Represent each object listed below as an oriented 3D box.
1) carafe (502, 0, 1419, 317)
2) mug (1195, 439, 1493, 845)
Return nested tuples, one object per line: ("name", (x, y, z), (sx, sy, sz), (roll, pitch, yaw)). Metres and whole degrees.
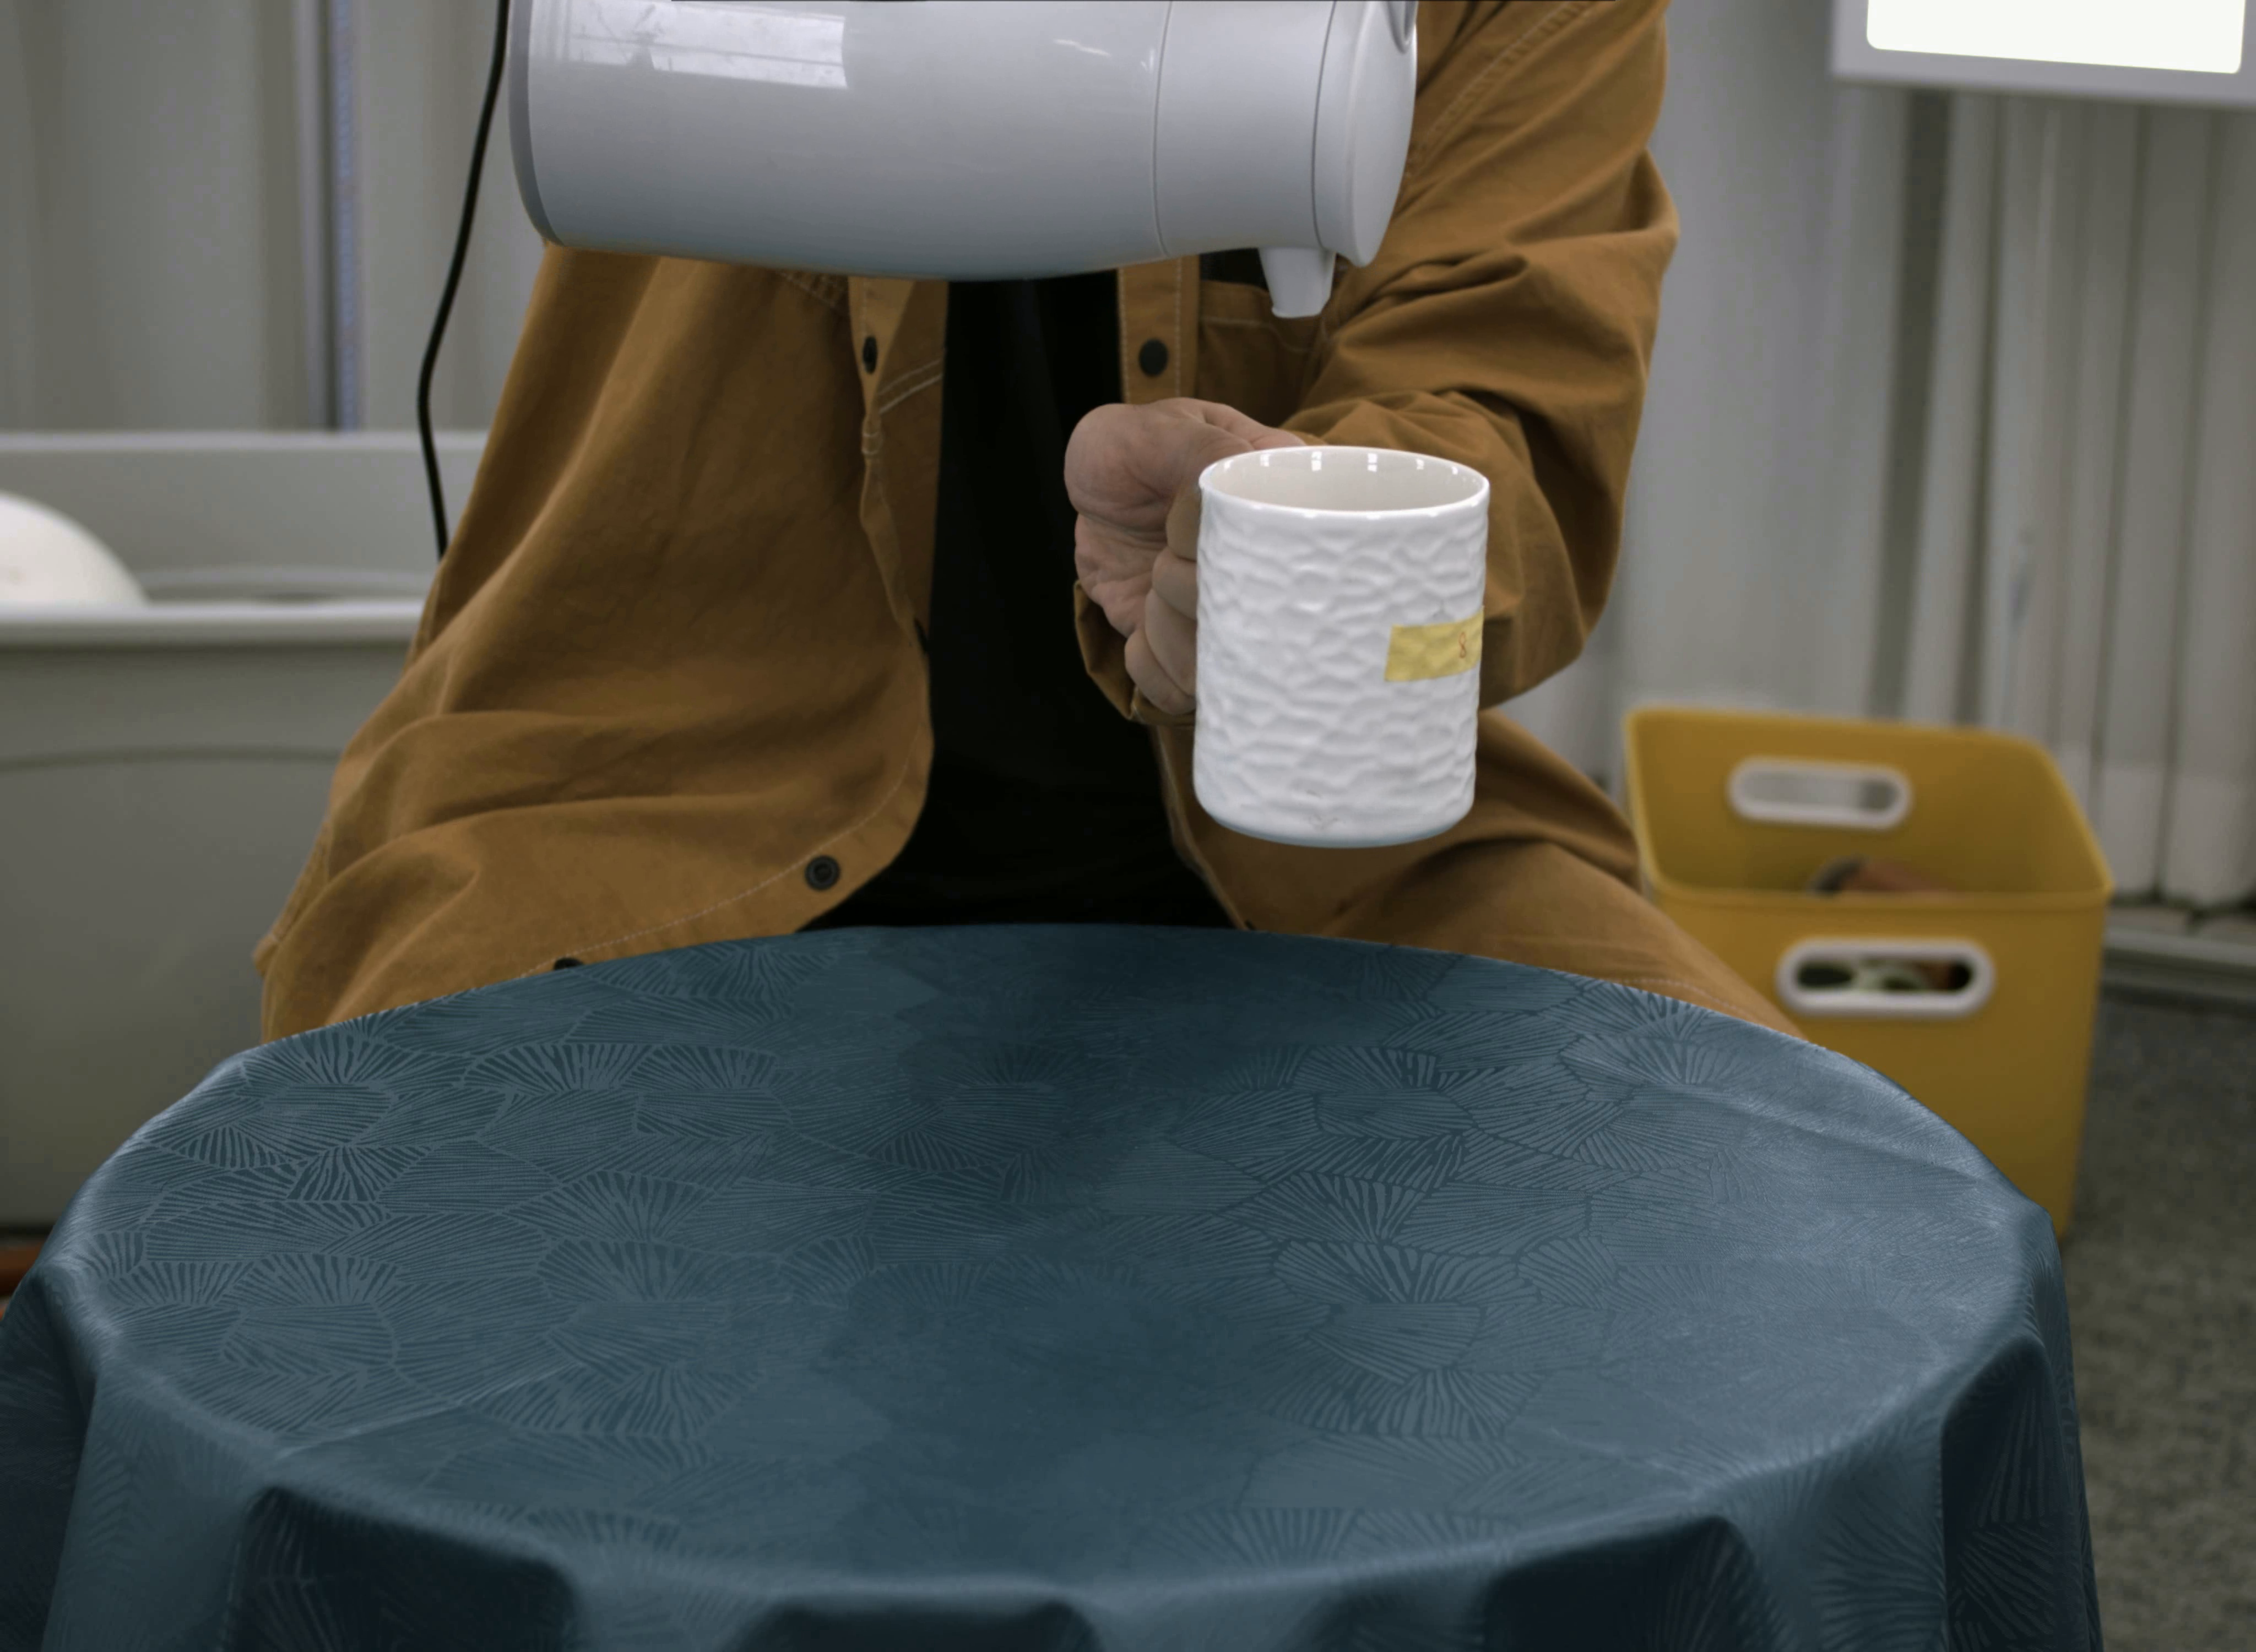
("carafe", (-0.041, -0.237, 1.499), (0.247, 0.169, 0.132), (8, 26, 11))
("mug", (0.054, -0.059, 1.556), (0.085, 0.103, 0.117), (-9, 20, -29))
